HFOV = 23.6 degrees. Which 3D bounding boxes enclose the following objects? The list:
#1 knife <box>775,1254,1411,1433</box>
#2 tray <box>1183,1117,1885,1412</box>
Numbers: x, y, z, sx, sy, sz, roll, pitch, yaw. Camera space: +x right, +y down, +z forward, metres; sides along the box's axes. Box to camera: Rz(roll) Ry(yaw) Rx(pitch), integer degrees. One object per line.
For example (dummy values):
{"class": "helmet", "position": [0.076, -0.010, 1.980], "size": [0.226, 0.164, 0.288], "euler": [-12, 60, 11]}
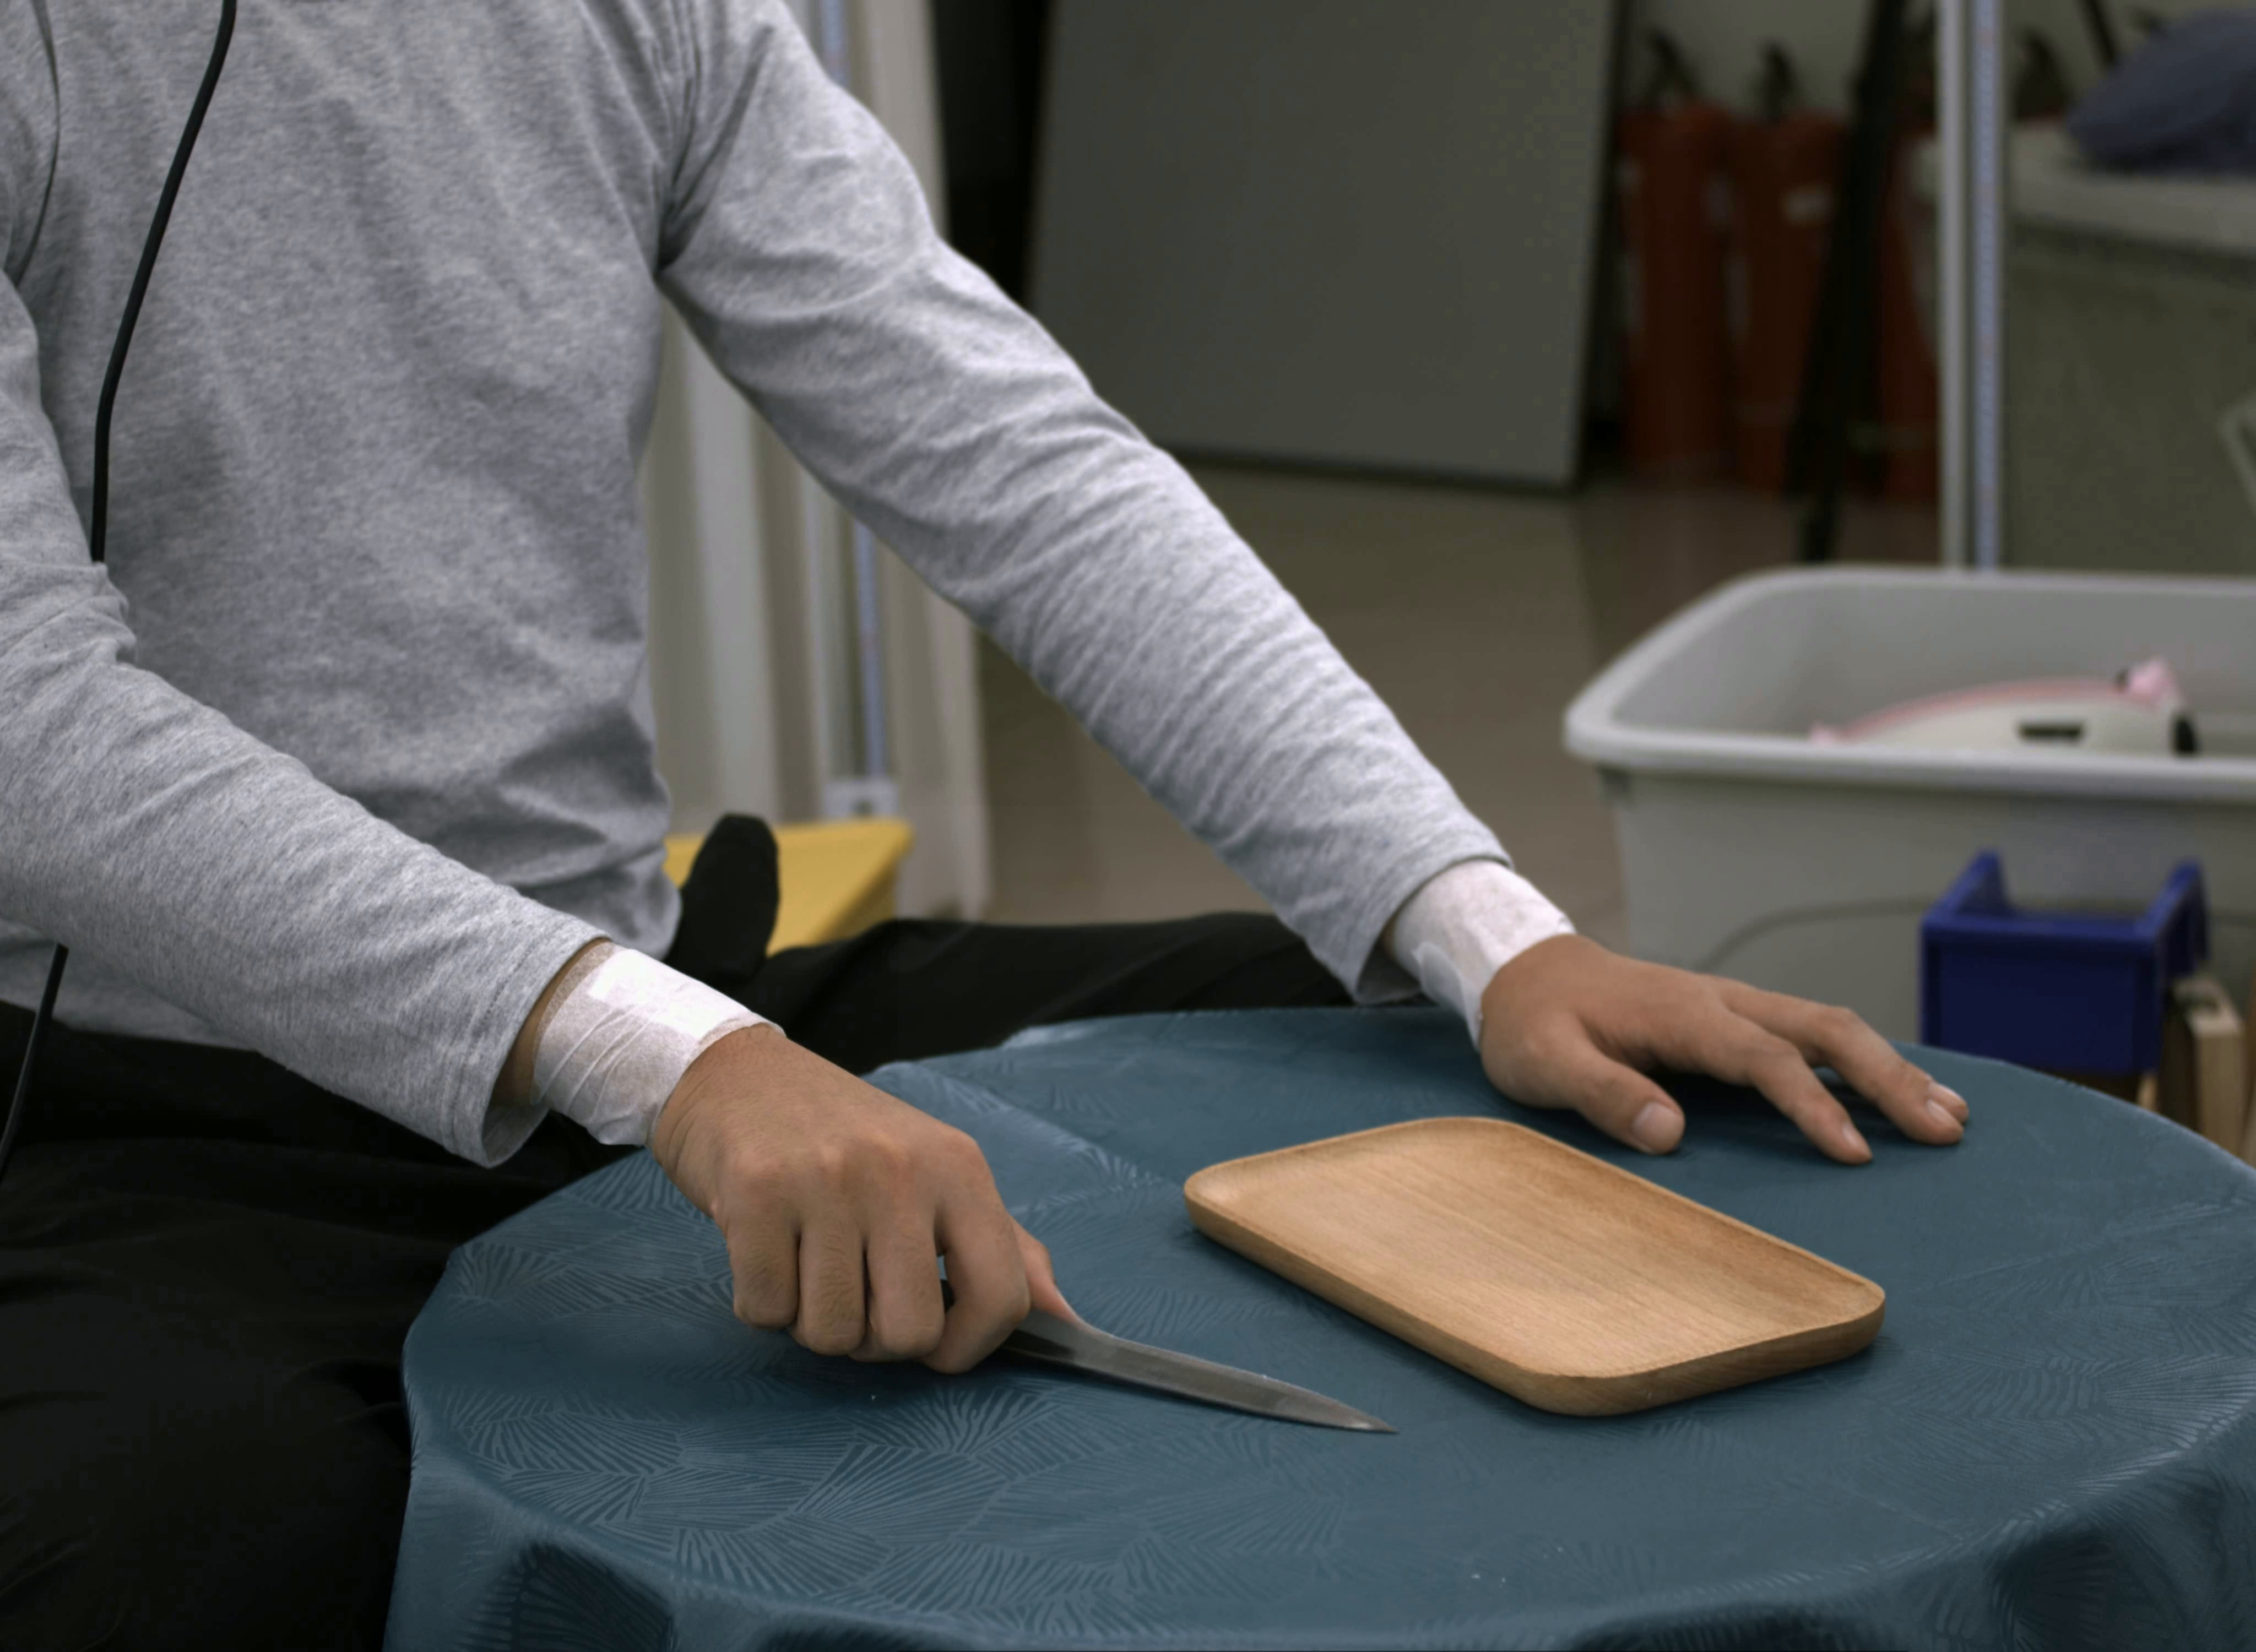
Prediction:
{"class": "knife", "position": [-0.016, 0.157, 1.607], "size": [0.240, 0.016, 0.024], "euler": [10, 19, 37]}
{"class": "tray", "position": [0.121, 0.132, 1.658], "size": [0.127, 0.023, 0.253], "euler": [-7, 13, -25]}
